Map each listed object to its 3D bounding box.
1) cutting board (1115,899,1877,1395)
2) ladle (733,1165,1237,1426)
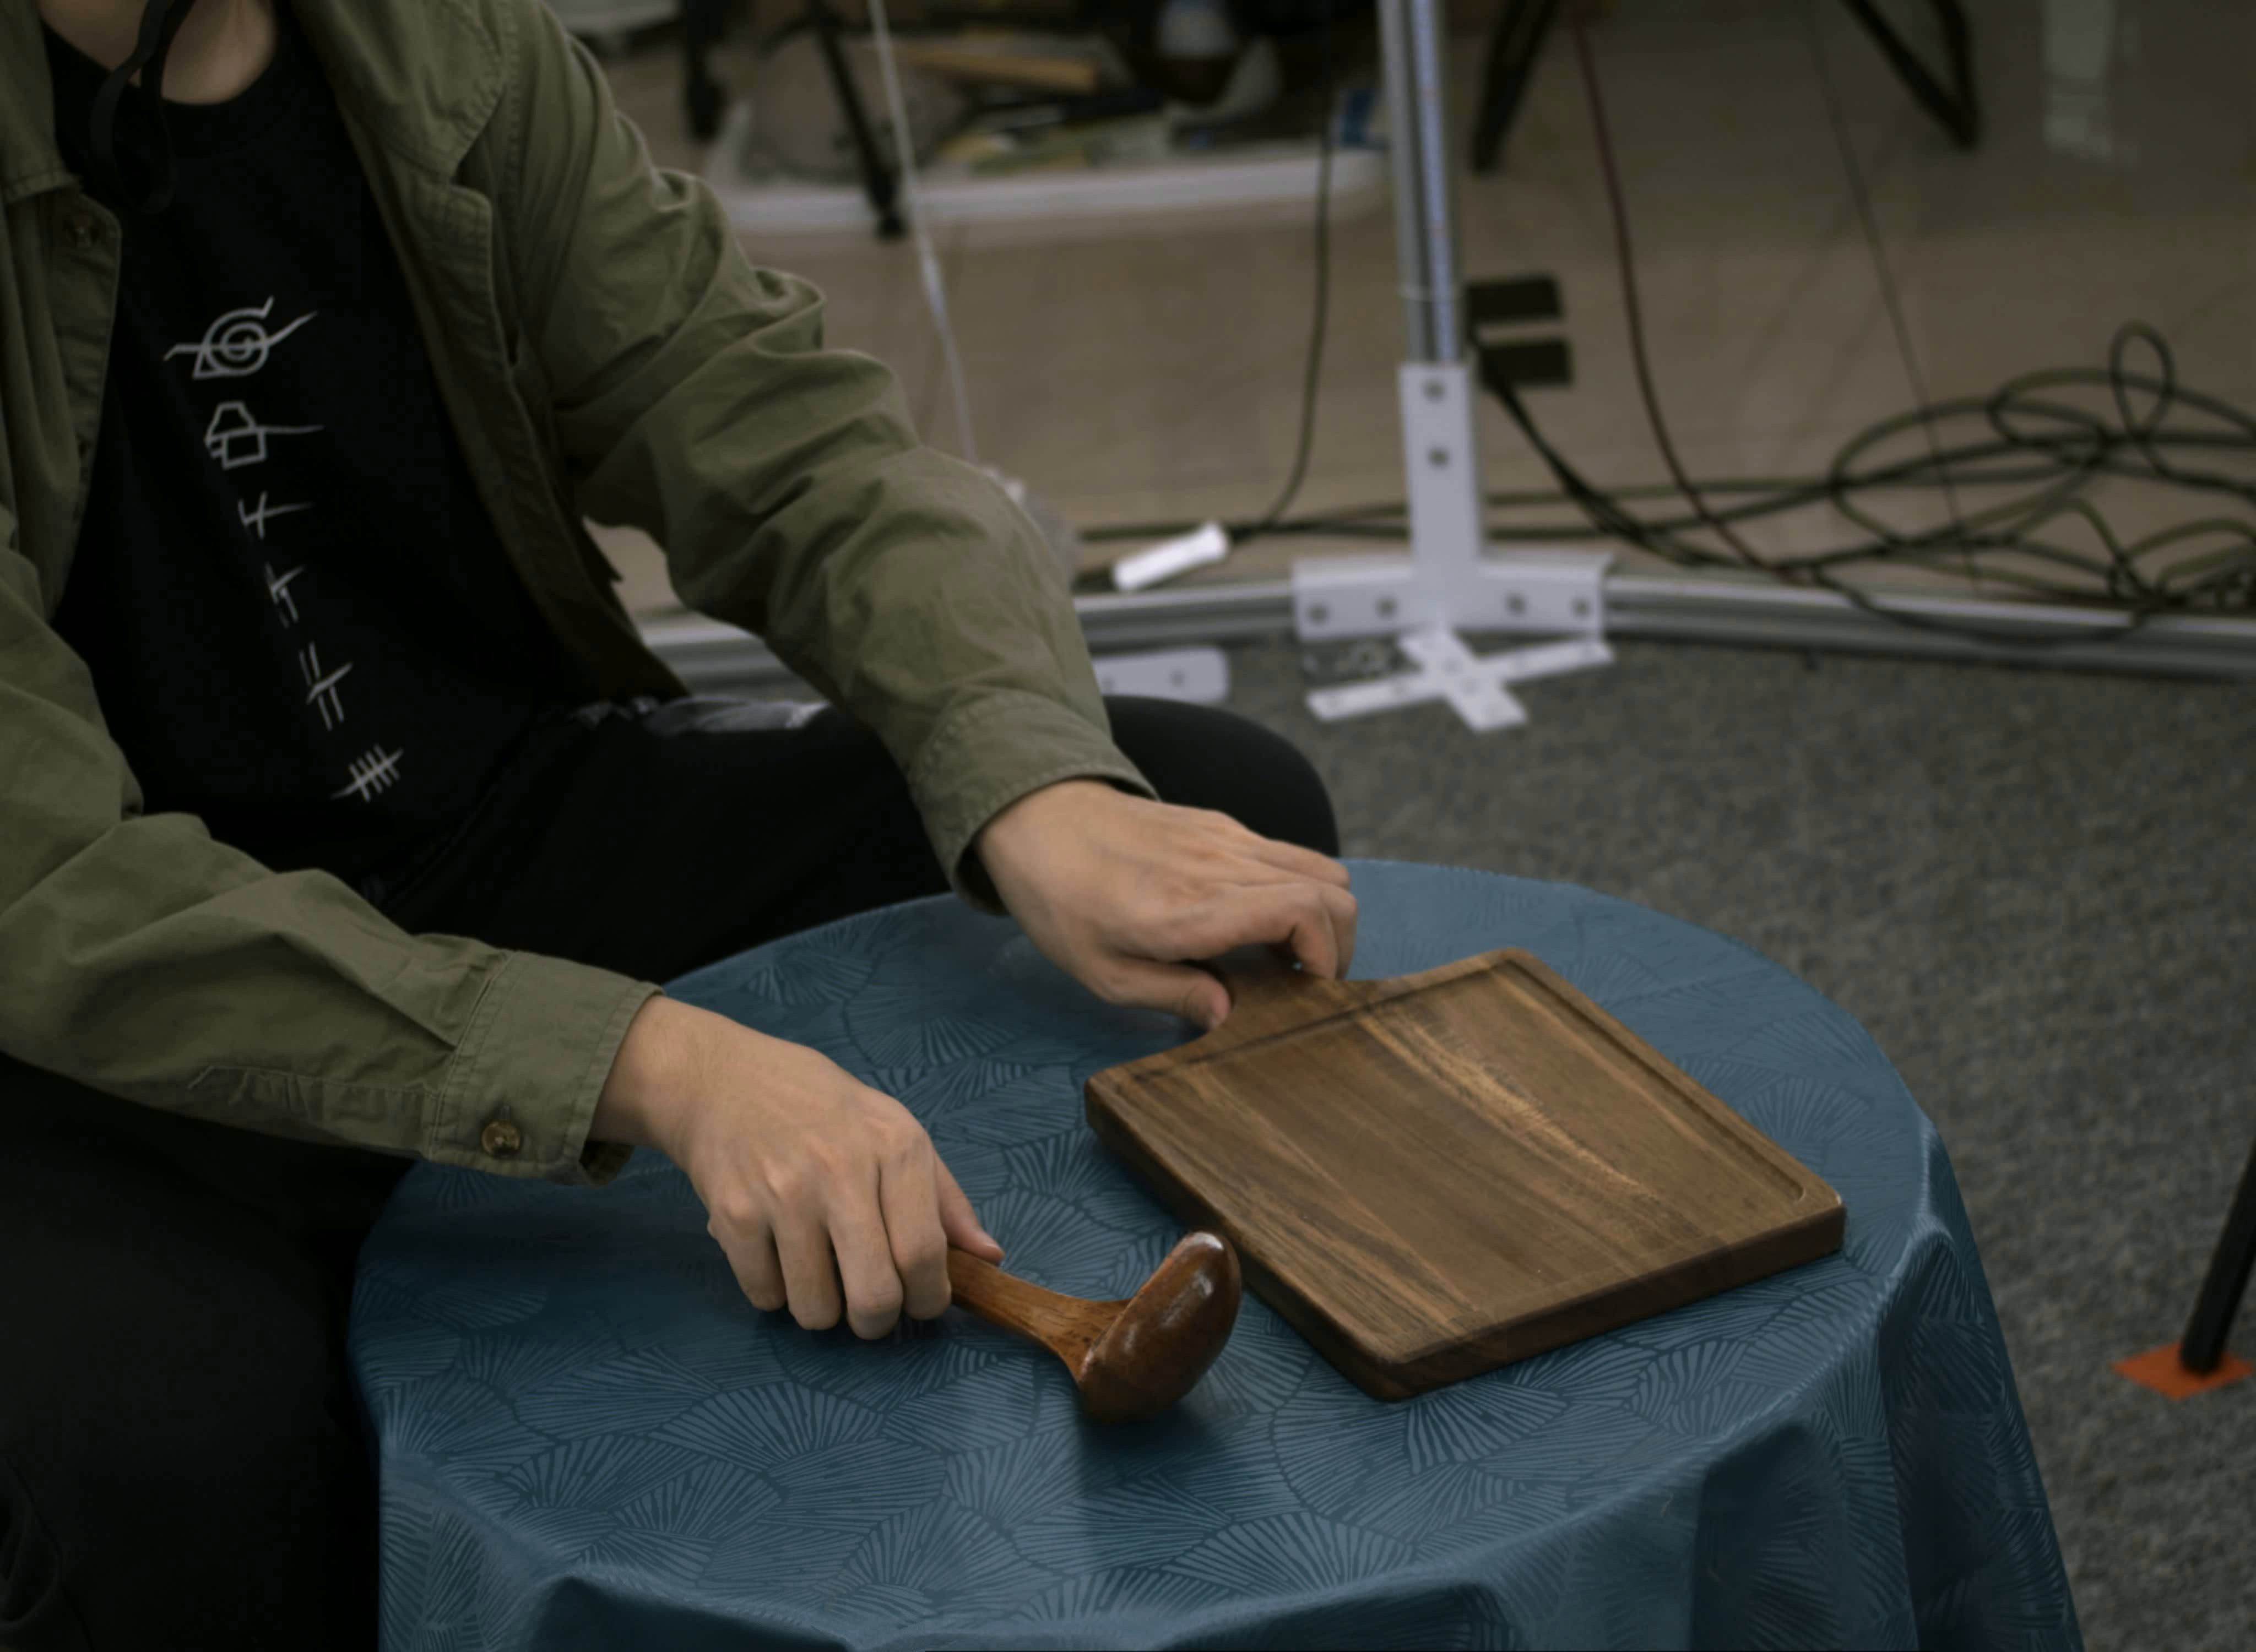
[{"bbox_3d":[0.113,0.104,2.162,0.200,0.023,0.347,-16,28,-20],"label":"cutting board"},{"bbox_3d":[-0.065,0.151,2.054,0.272,0.078,0.081,20,55,43],"label":"ladle"}]
